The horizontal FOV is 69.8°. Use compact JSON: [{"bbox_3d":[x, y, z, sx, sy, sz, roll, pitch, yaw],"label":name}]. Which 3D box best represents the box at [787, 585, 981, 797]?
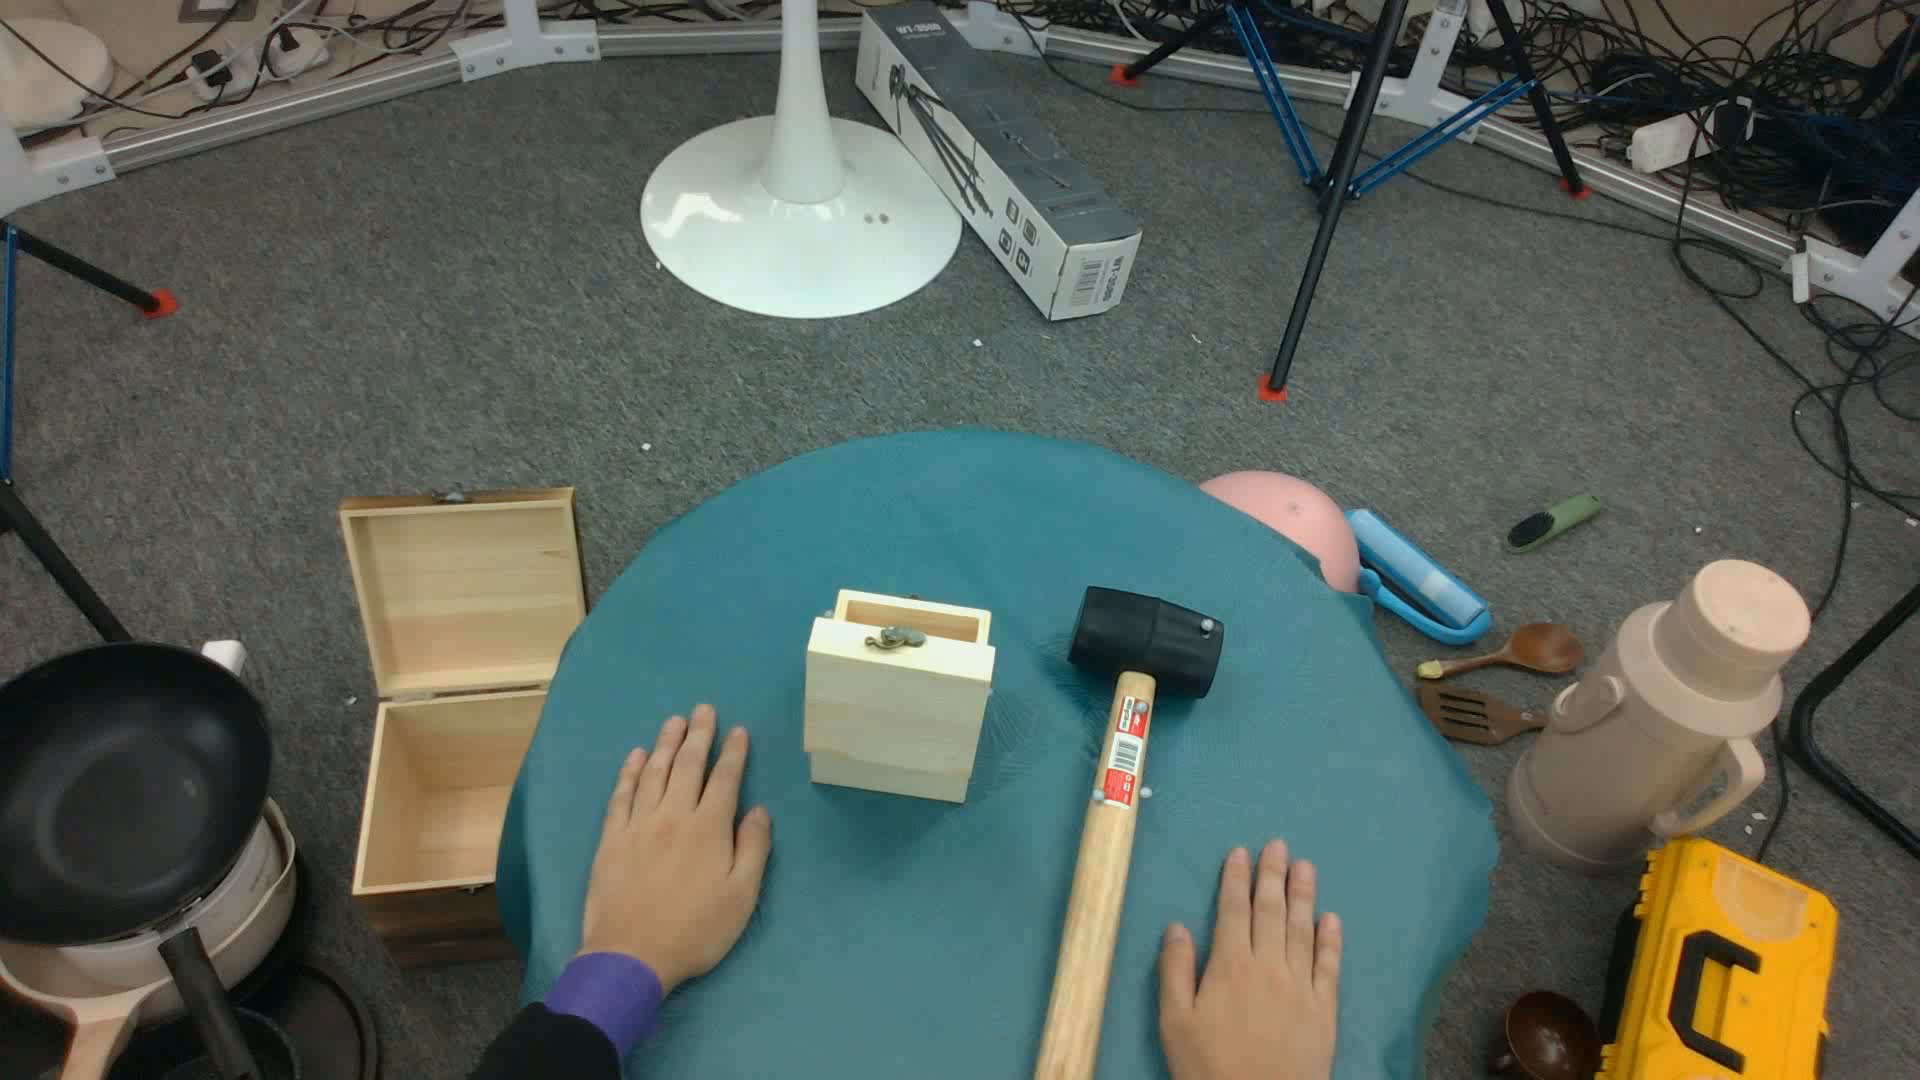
[{"bbox_3d":[-0.042,0.074,0.843,0.102,0.183,0.134,7,53,1],"label":"box"}]

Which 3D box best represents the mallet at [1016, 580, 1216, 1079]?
[{"bbox_3d":[0.089,0.168,0.859,0.102,0.064,0.341,13,51,6],"label":"mallet"}]
